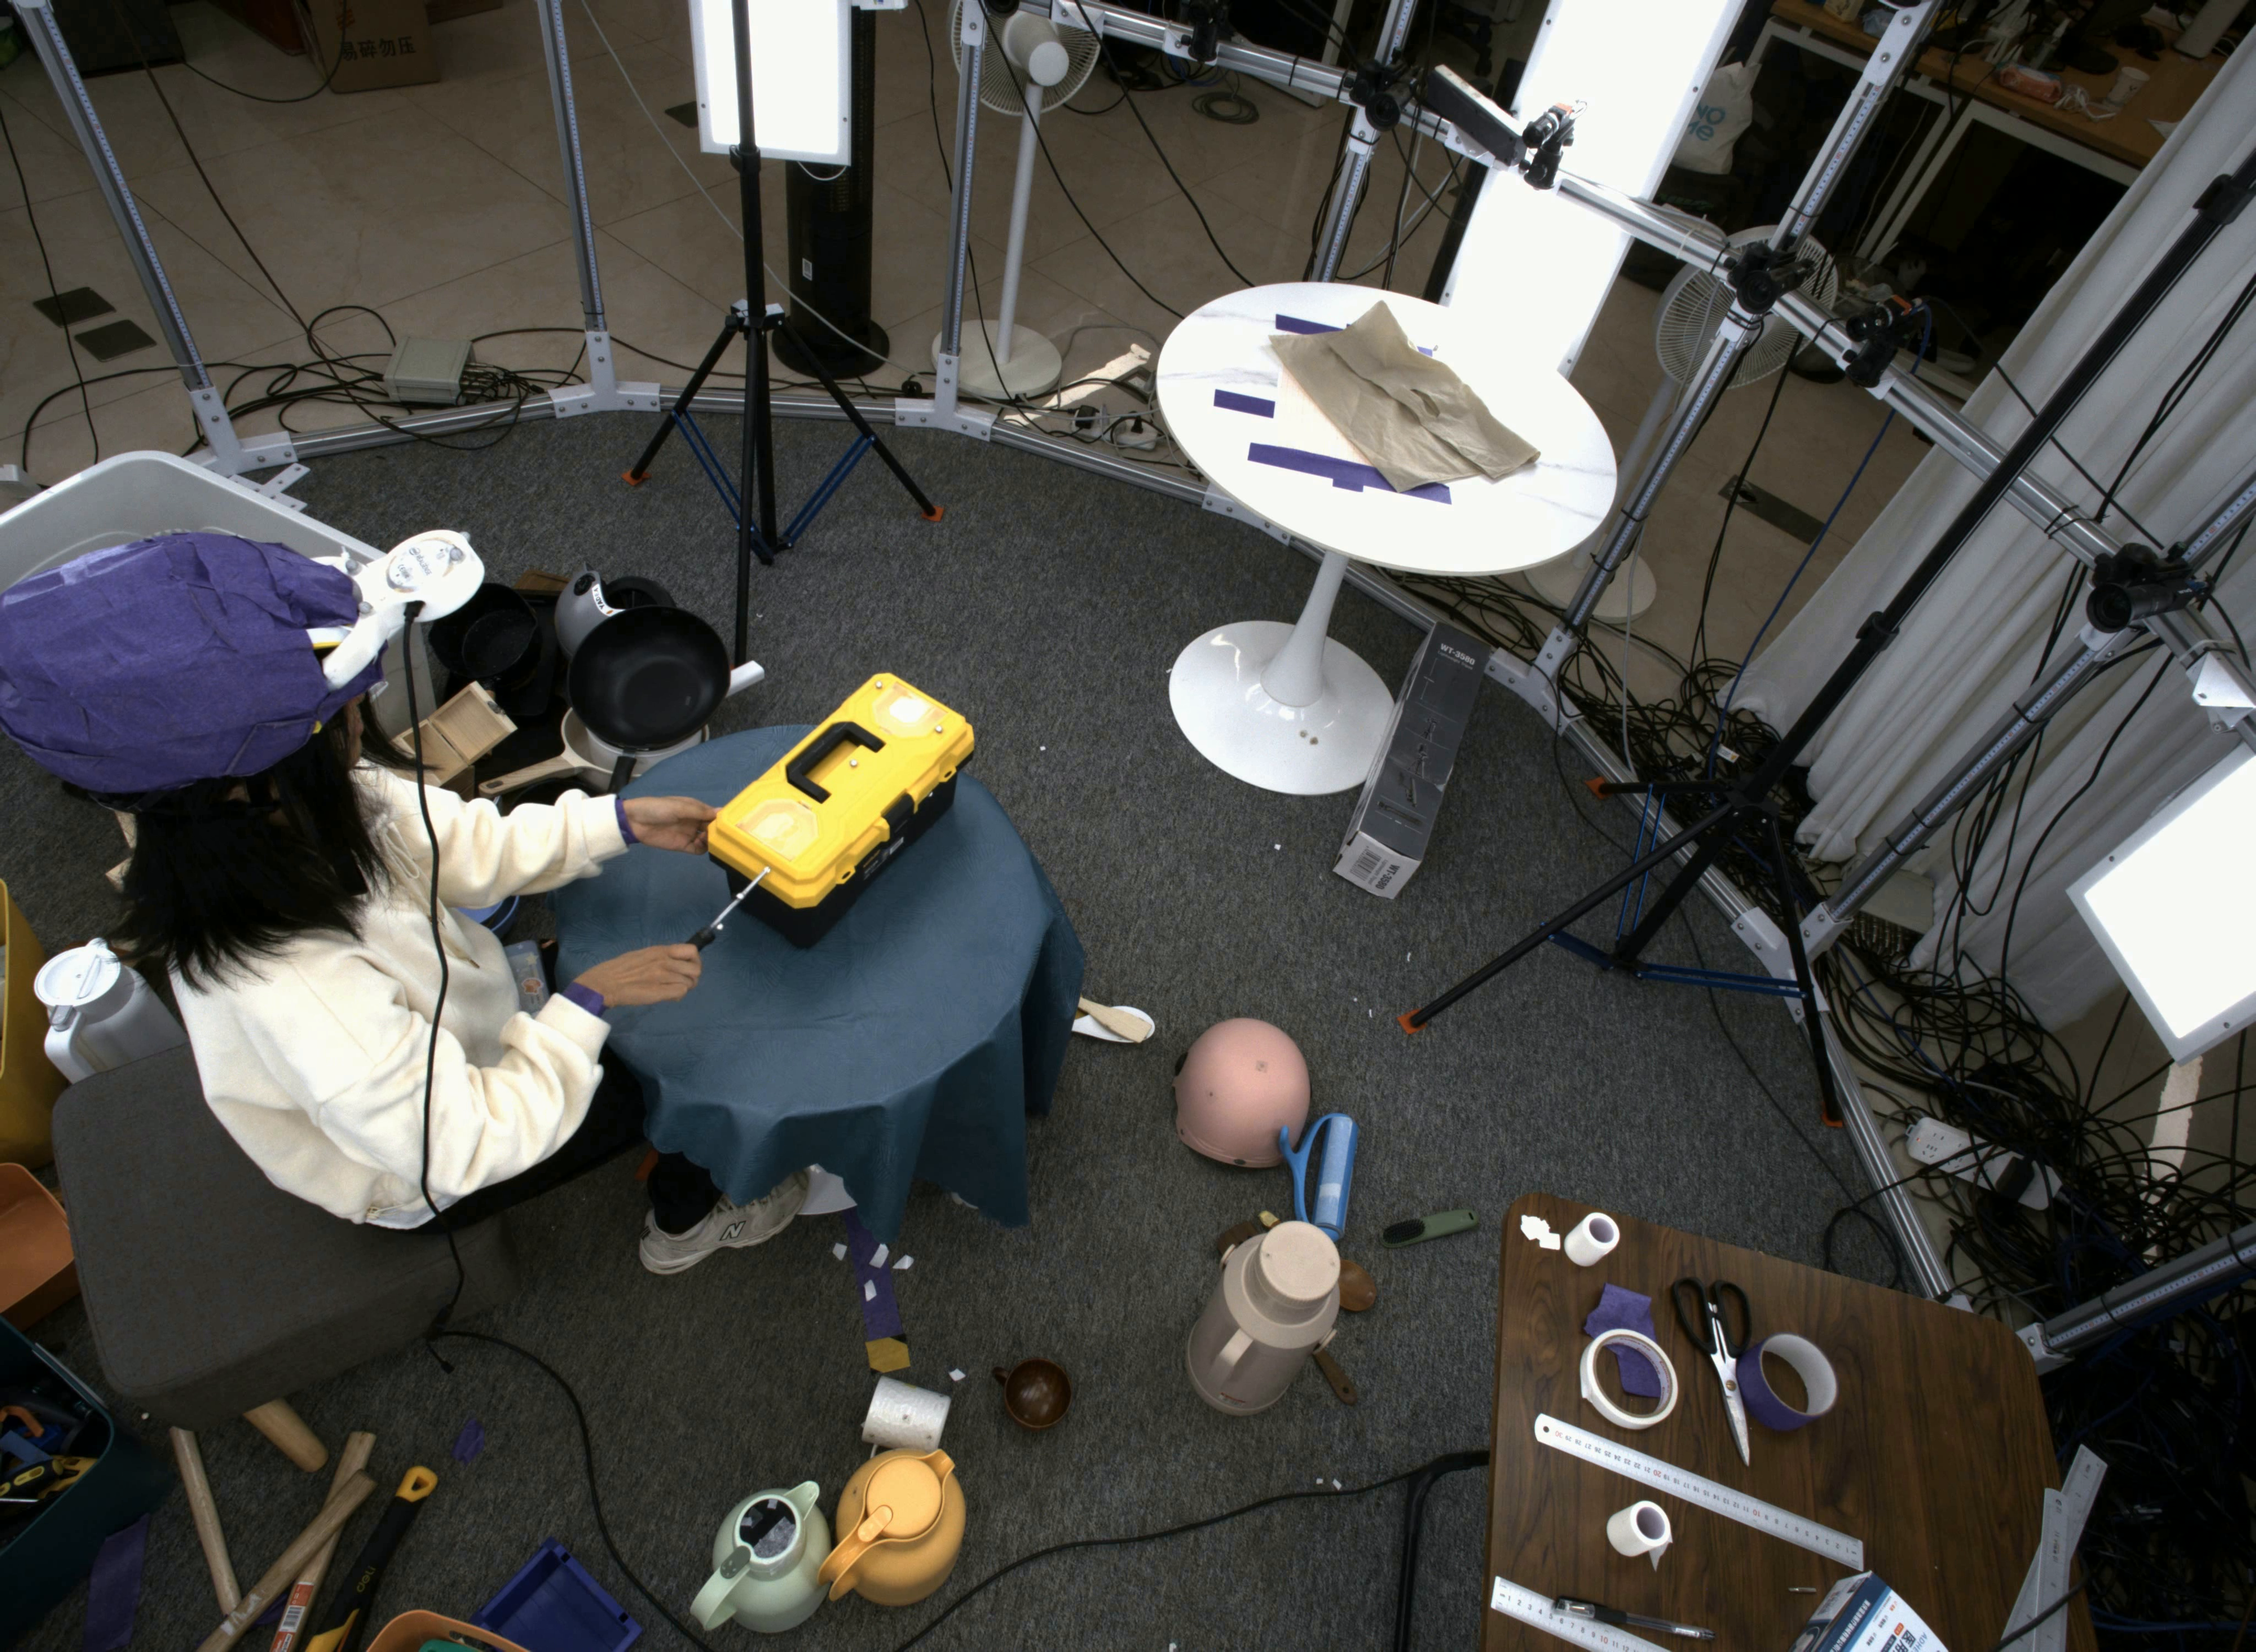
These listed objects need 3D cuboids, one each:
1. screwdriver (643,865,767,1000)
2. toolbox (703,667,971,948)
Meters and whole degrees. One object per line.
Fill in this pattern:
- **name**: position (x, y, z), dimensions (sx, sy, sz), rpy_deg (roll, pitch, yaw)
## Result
- **screwdriver**: position (-0.470, 0.113, 1.444), dimensions (0.031, 0.032, 0.196), rpy_deg (34, 69, 14)
- **toolbox**: position (-0.359, -0.024, 1.642), dimensions (0.178, 0.176, 0.350), rpy_deg (31, 52, 12)
